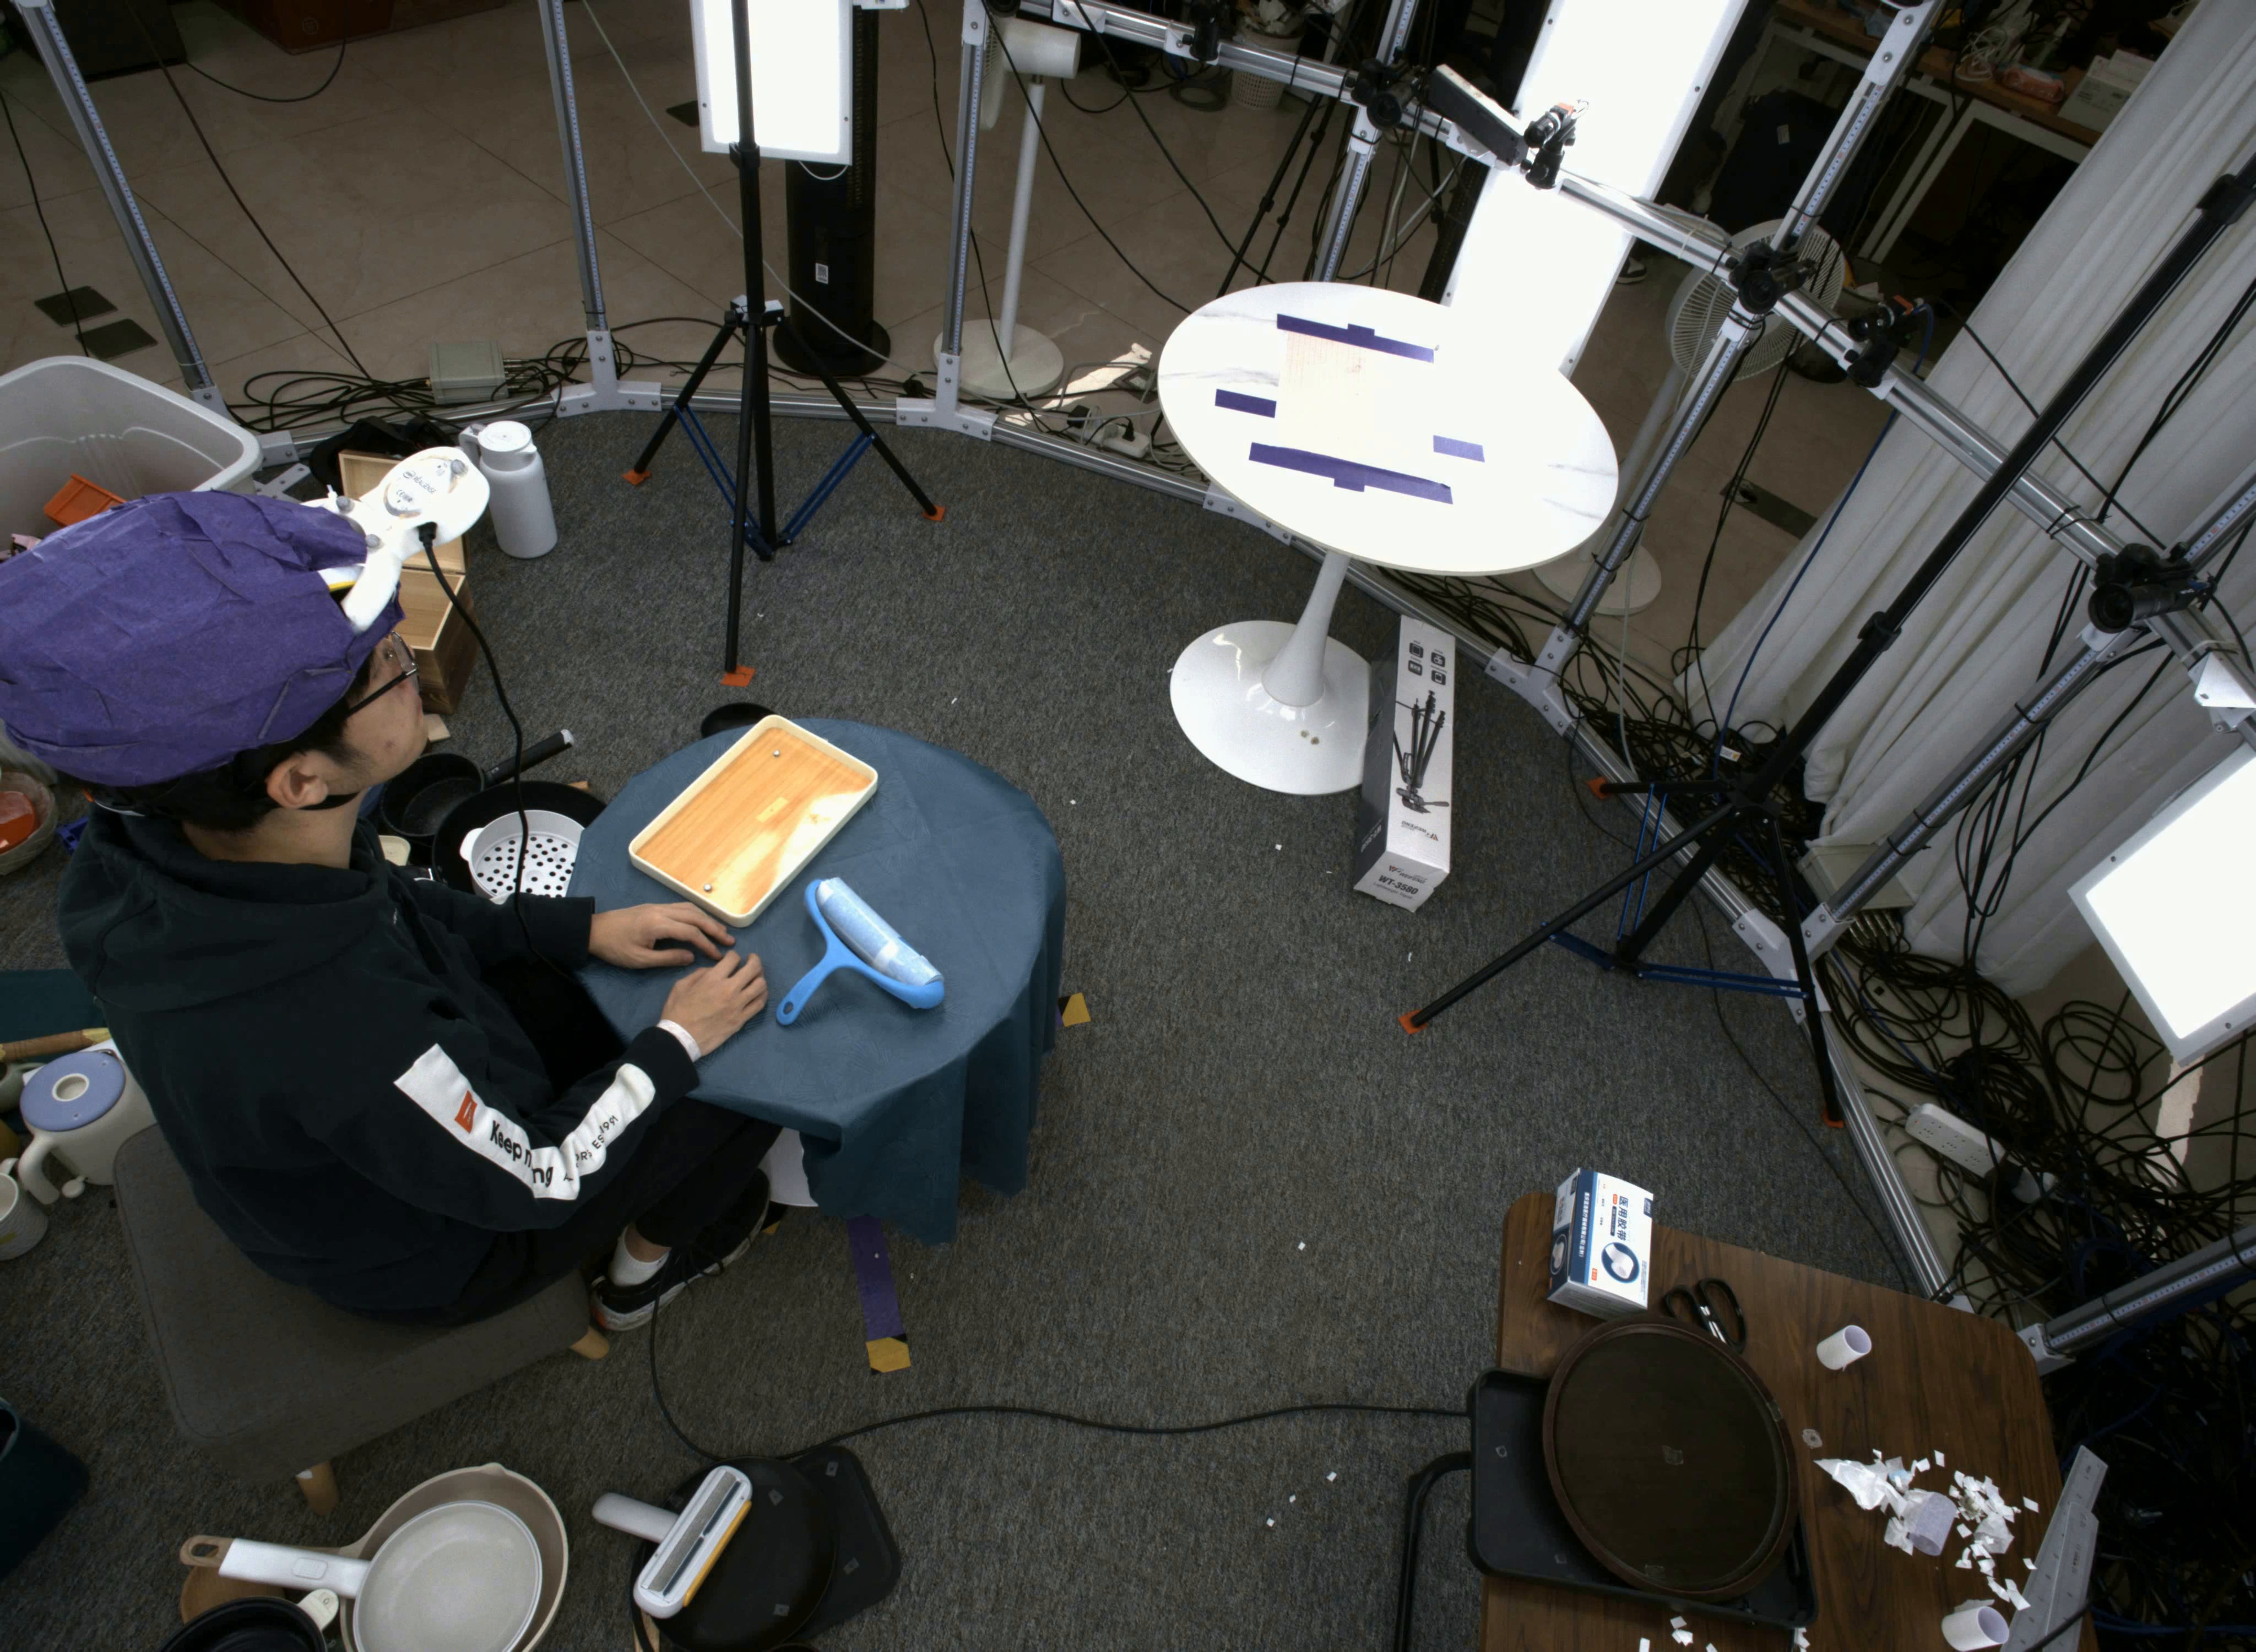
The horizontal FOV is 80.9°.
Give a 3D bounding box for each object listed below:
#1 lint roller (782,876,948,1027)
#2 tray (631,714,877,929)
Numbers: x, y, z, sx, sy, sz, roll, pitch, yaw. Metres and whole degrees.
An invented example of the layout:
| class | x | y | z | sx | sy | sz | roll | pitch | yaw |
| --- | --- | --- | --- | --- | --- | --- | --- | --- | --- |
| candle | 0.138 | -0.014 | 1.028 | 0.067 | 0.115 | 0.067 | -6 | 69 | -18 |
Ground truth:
| class | x | y | z | sx | sy | sz | roll | pitch | yaw |
| --- | --- | --- | --- | --- | --- | --- | --- | --- | --- |
| lint roller | -0.349 | 0.172 | 1.588 | 0.225 | 0.069 | 0.180 | 38 | 53 | 12 |
| tray | -0.489 | -0.015 | 1.706 | 0.188 | 0.028 | 0.299 | 30 | 53 | 8 |
